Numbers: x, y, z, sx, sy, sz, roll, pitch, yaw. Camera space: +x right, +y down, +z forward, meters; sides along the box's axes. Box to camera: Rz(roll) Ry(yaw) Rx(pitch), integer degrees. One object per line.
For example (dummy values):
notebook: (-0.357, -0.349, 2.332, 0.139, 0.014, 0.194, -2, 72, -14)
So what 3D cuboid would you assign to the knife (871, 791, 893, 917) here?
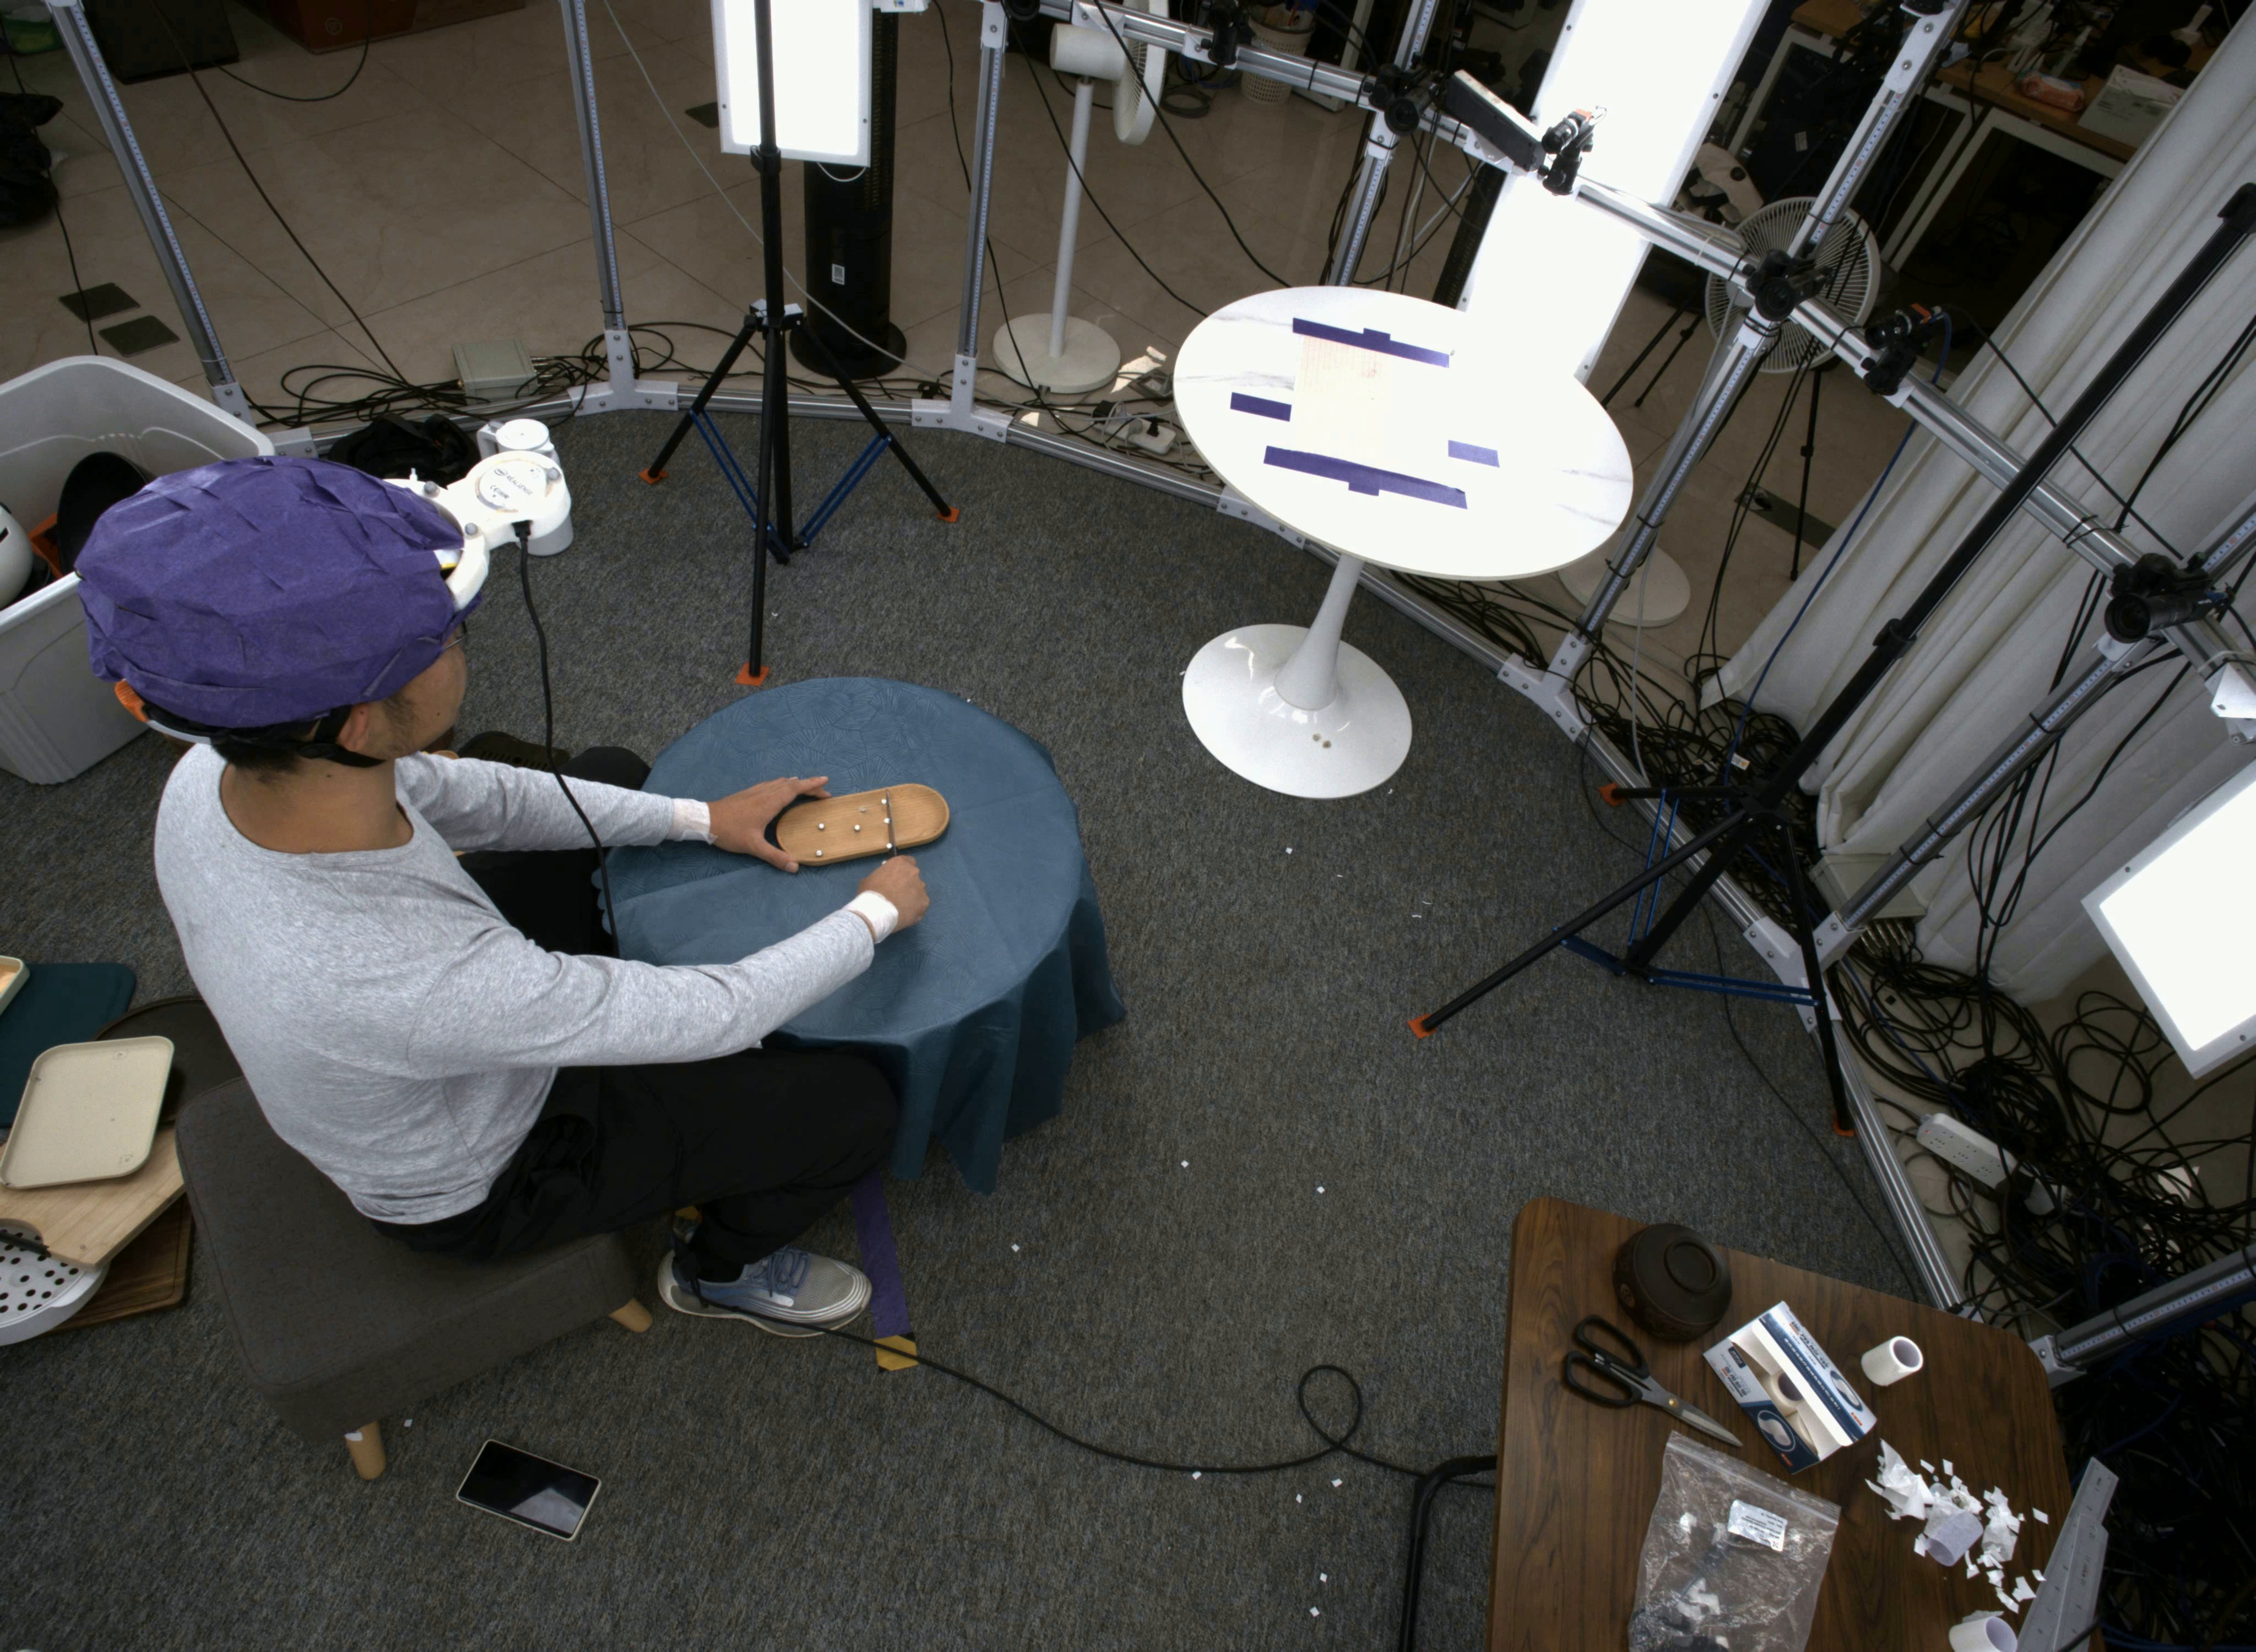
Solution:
knife: (-0.324, 0.028, 1.692, 0.016, 0.025, 0.231, 3, 41, -20)

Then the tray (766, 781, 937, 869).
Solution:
tray: (-0.369, -0.003, 1.742, 0.232, 0.020, 0.099, -14, 60, -25)
